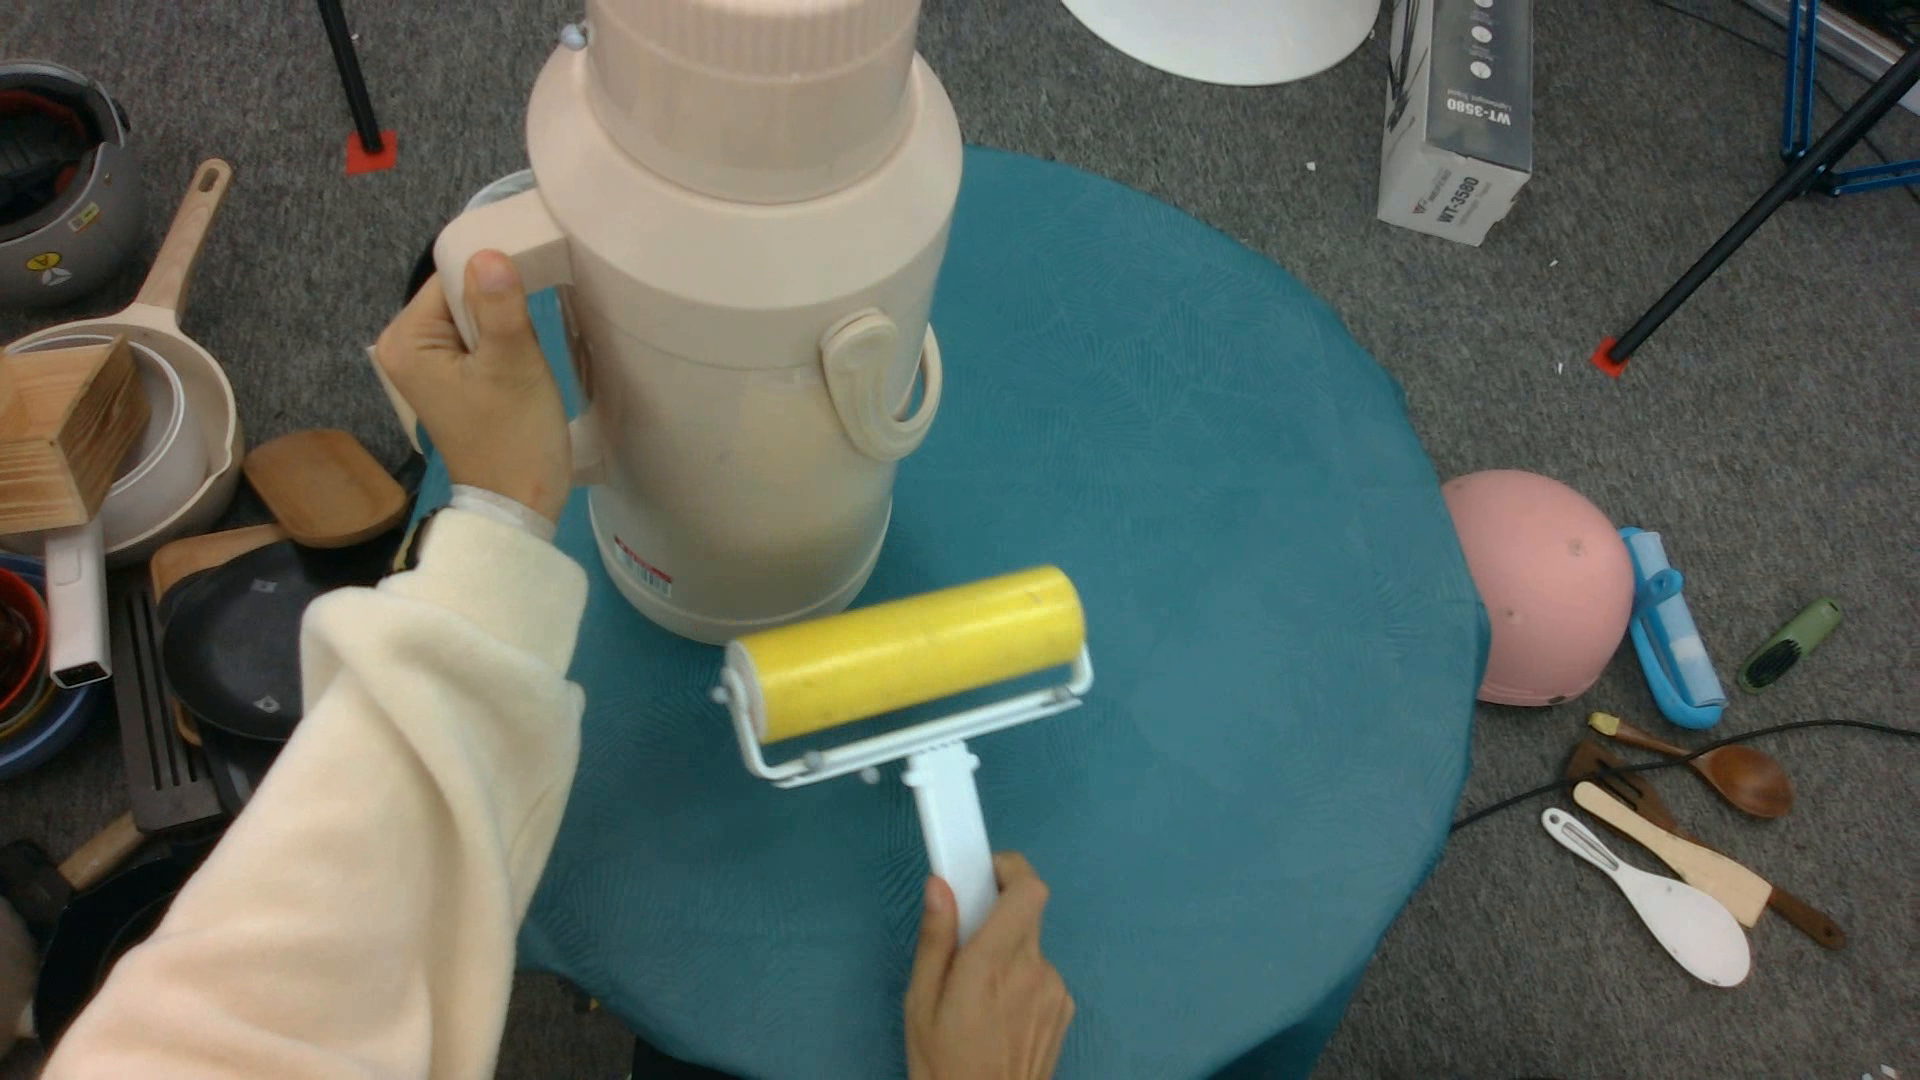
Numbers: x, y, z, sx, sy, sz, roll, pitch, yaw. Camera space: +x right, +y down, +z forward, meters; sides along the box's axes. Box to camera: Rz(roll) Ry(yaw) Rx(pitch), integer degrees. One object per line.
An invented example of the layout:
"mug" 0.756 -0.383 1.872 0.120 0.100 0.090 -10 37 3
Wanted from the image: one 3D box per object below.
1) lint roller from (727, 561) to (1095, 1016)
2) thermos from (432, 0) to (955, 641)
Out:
"lint roller" 0.002 0.115 0.615 0.175 0.051 0.192 -12 73 -26
"thermos" -0.106 -0.101 0.585 0.207 0.404 0.175 -27 71 -21
